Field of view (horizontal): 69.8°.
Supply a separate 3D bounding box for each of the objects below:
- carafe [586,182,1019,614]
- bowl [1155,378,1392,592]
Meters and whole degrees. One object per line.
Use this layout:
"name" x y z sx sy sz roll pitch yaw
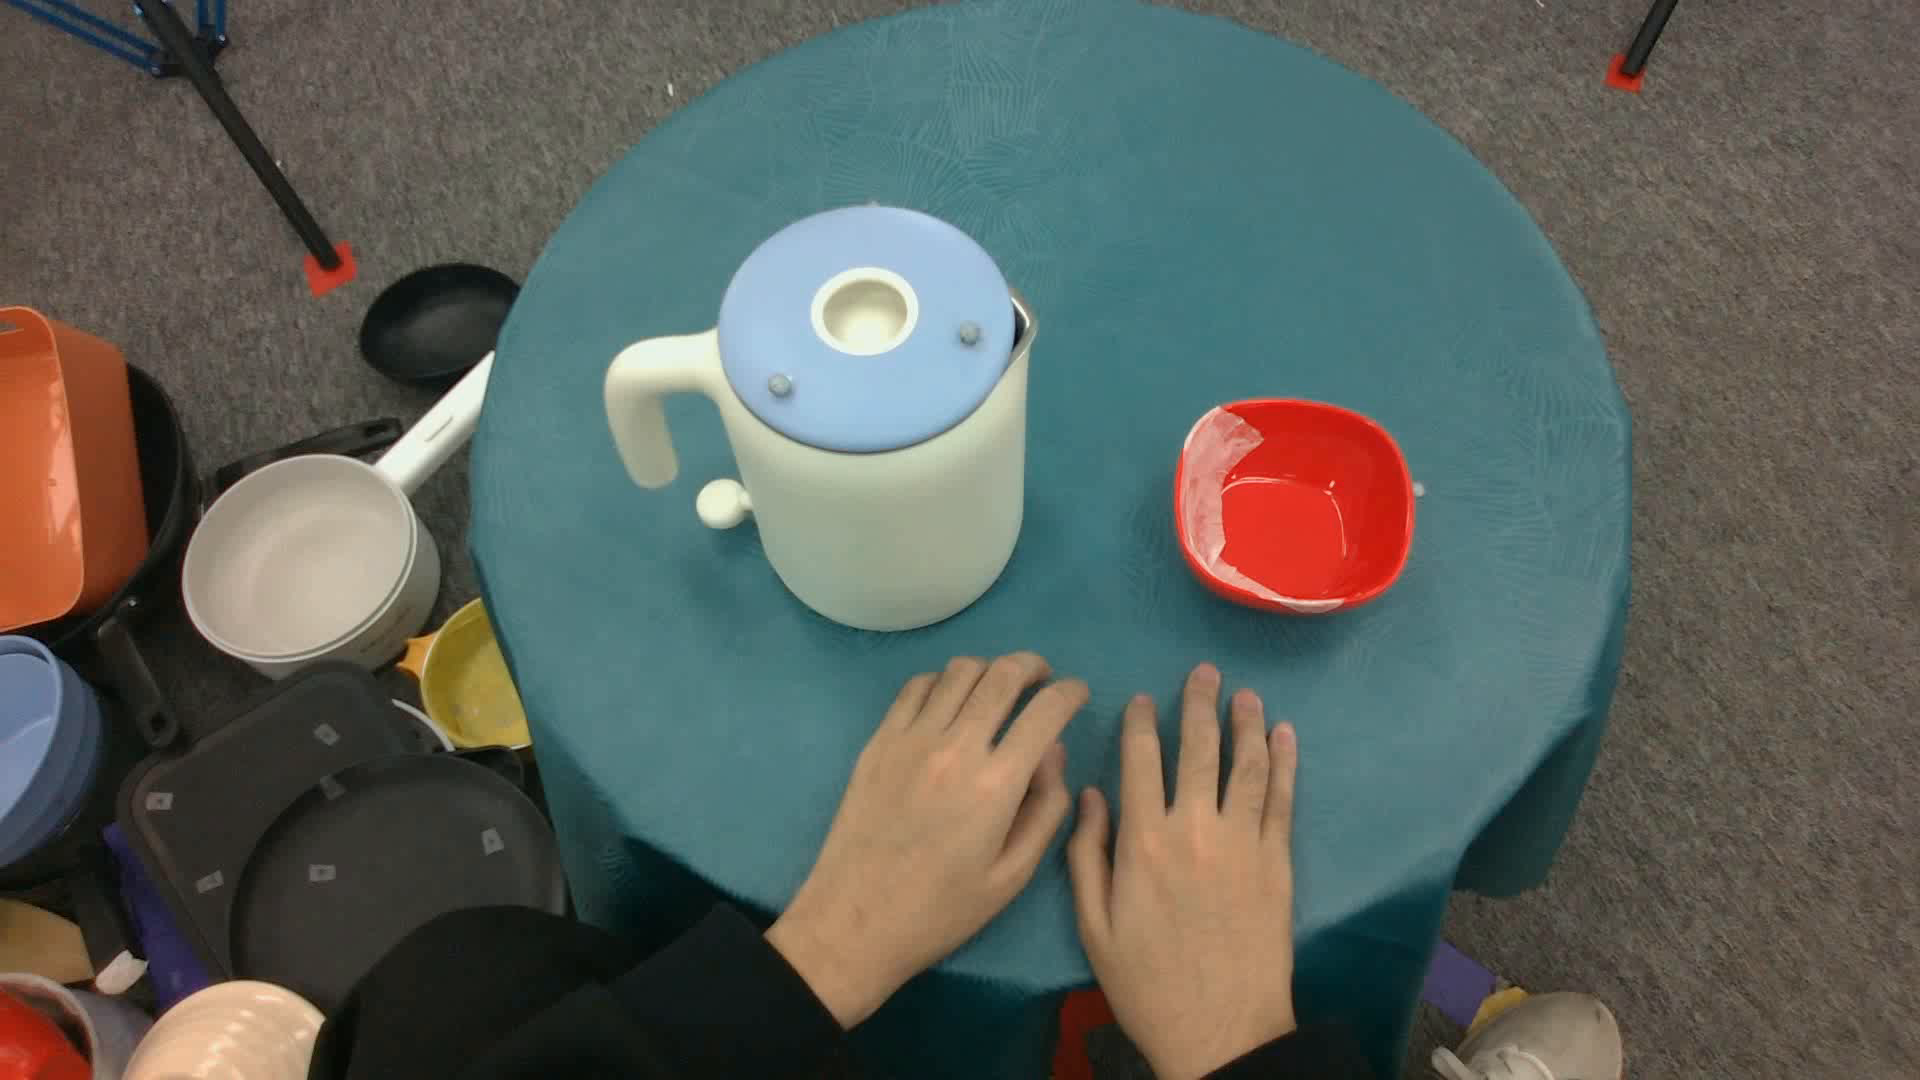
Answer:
"carafe" -0.068 -0.056 0.618 0.191 0.182 0.132 -4 62 1
"bowl" 0.146 -0.019 0.663 0.119 0.051 0.119 1 61 -2
